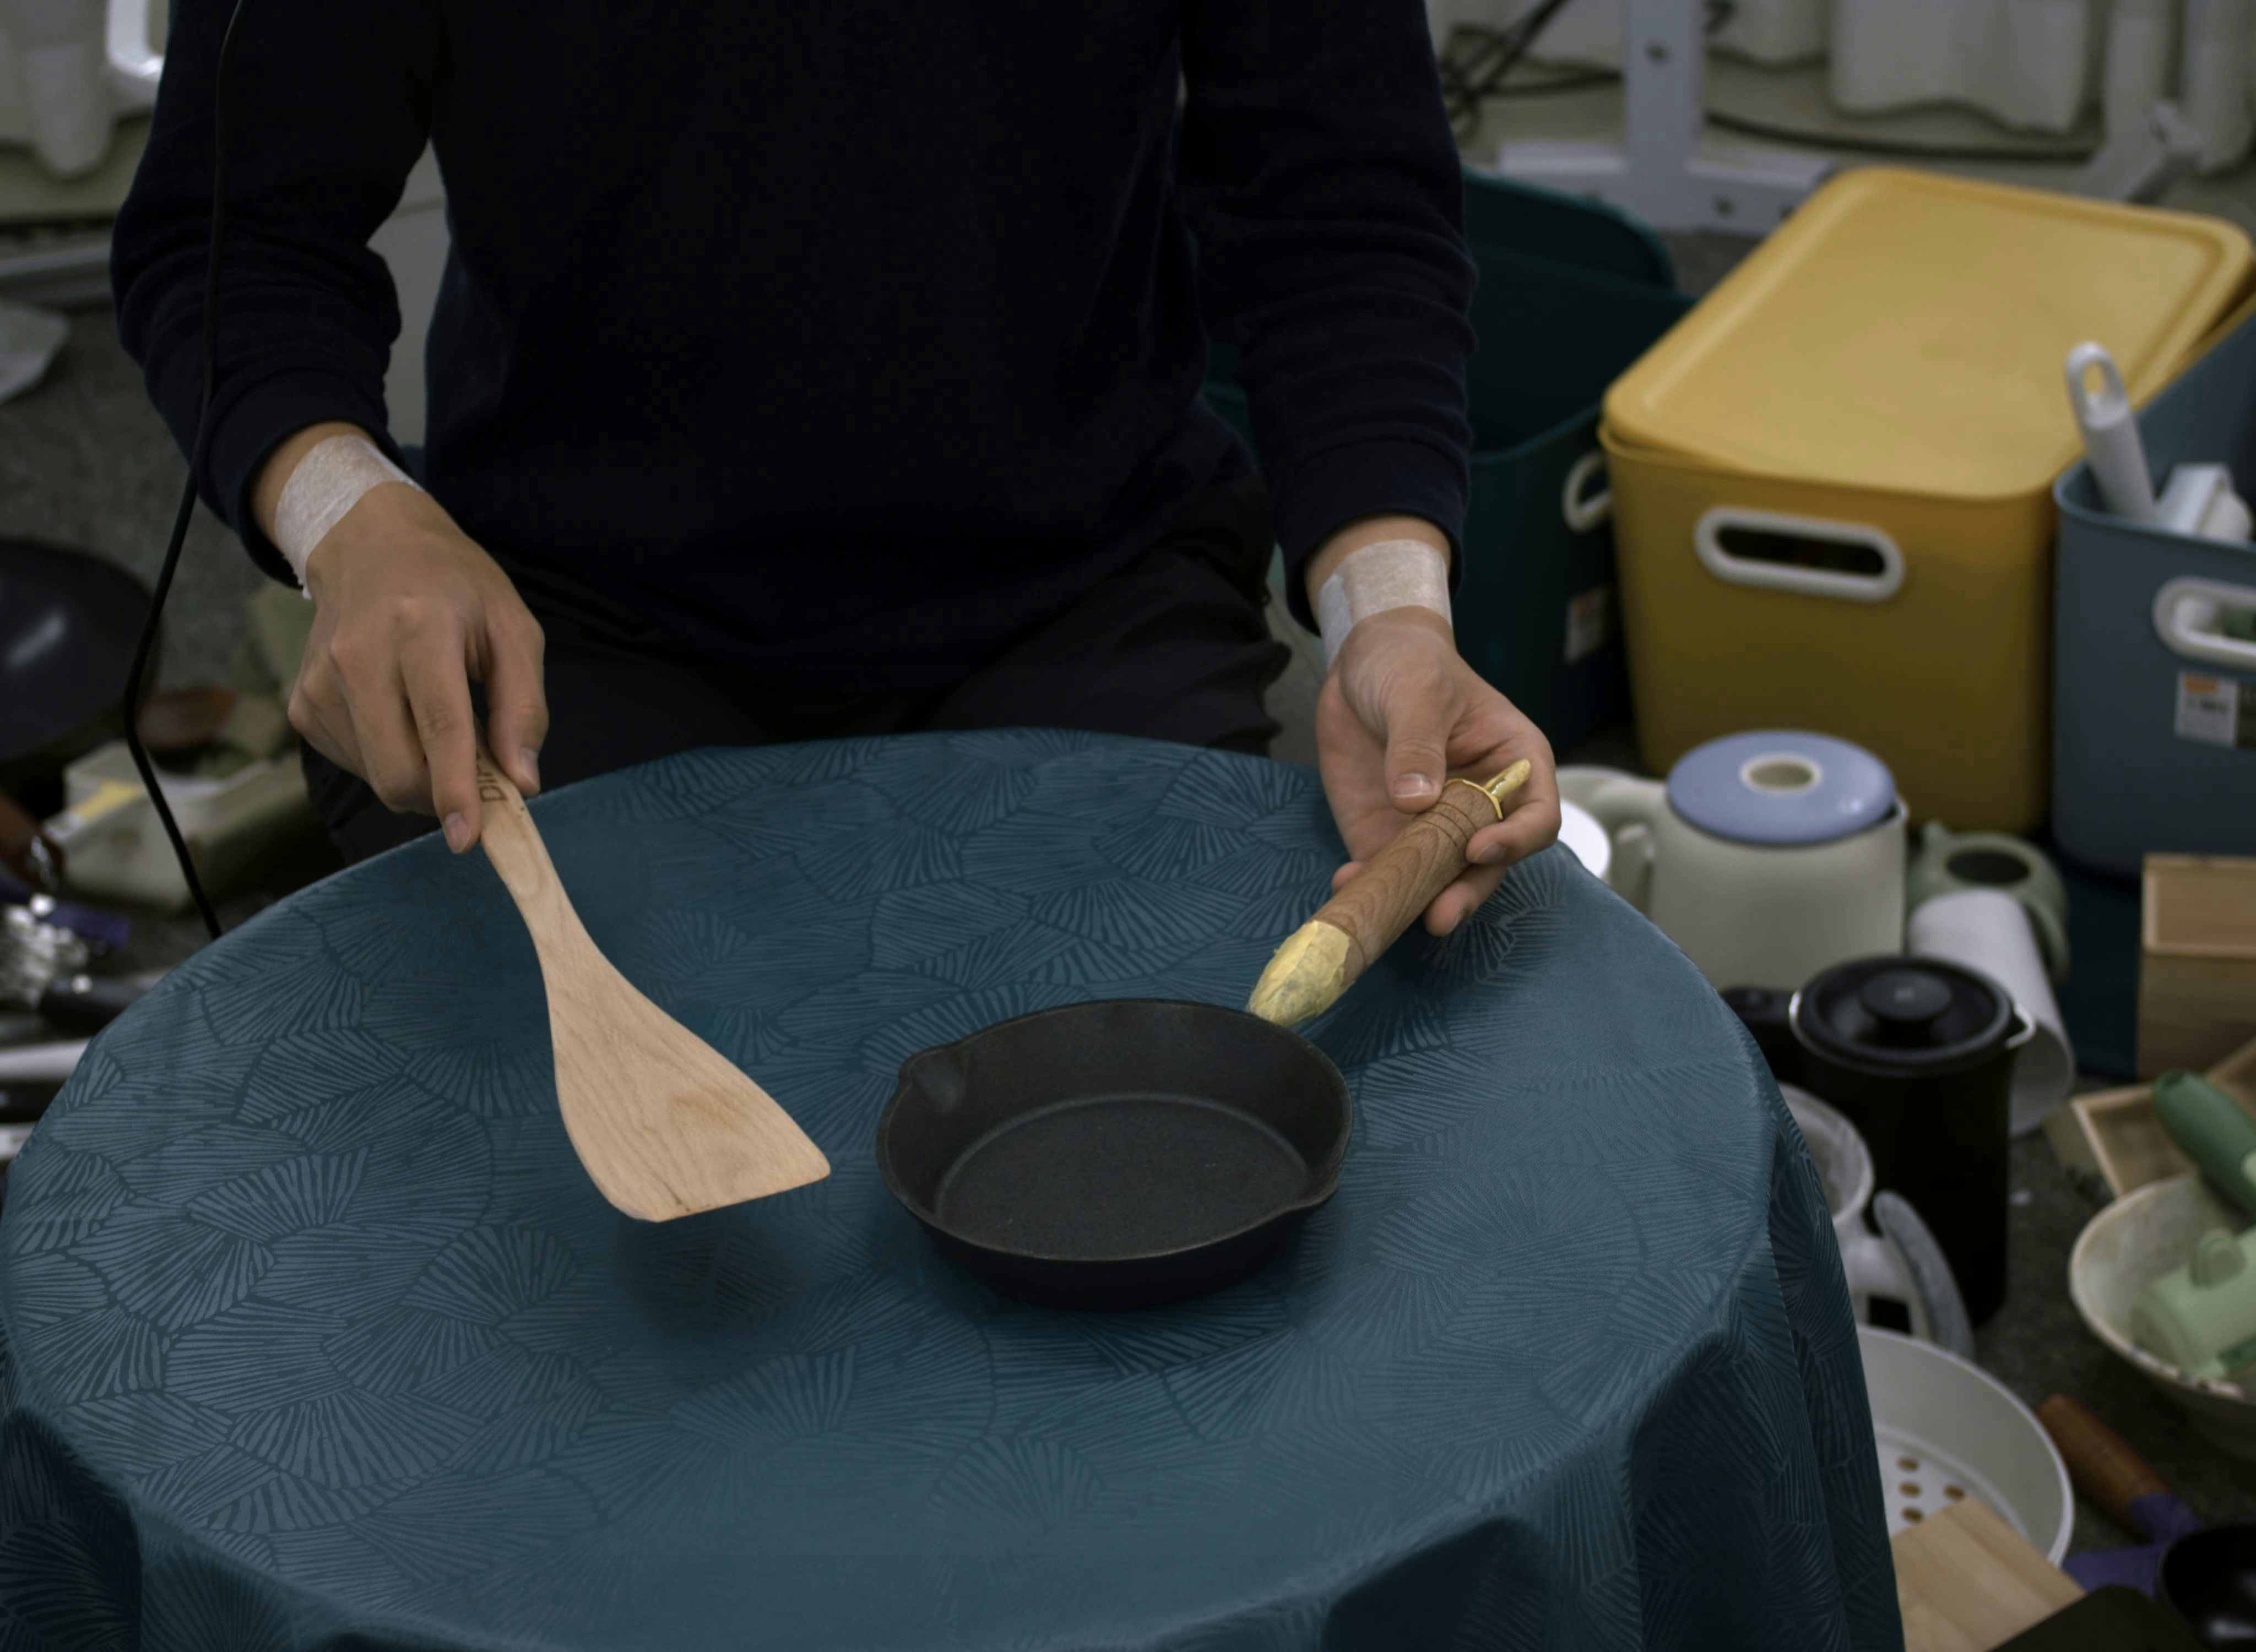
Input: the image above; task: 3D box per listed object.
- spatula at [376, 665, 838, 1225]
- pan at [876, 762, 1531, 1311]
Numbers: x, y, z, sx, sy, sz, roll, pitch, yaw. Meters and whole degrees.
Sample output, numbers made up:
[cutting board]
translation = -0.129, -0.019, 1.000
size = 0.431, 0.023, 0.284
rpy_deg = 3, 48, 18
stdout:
[spatula]
translation = -0.189, 0.034, 1.888
size = 0.080, 0.016, 0.331
rpy_deg = -4, 37, -28
[pan]
translation = 0.047, 0.067, 1.899
size = 0.168, 0.049, 0.329
rpy_deg = 17, 36, 33
